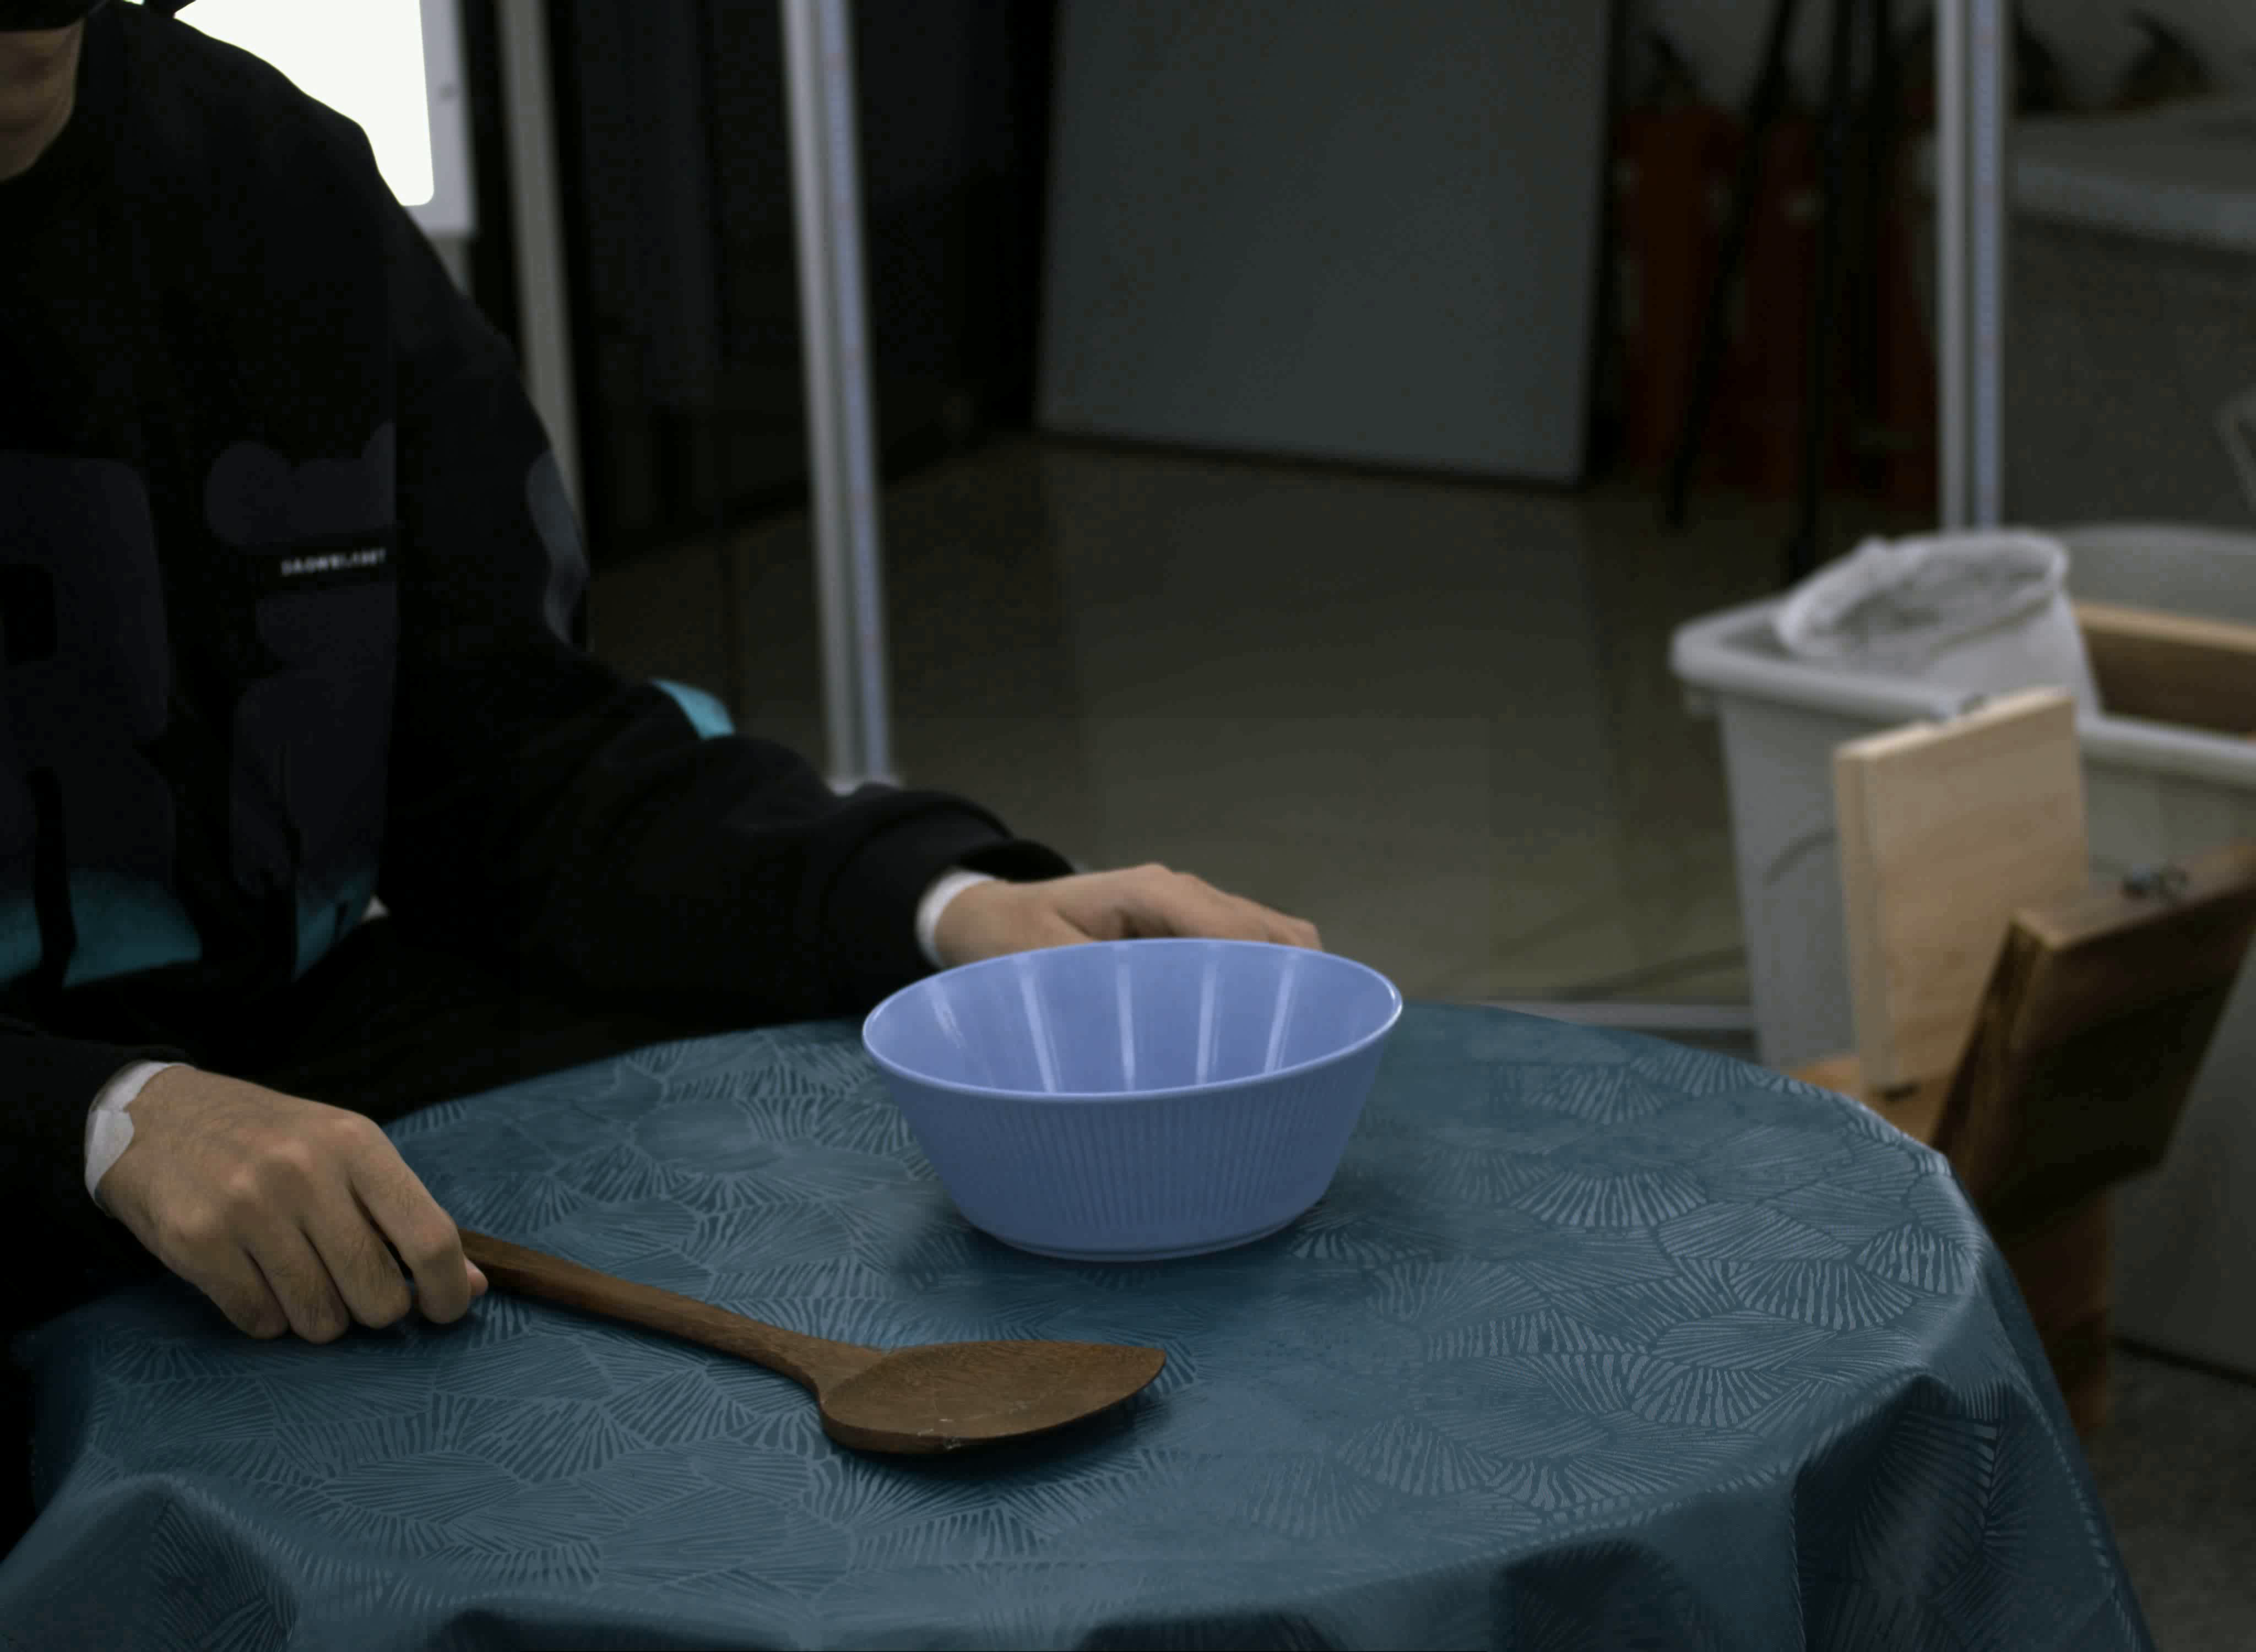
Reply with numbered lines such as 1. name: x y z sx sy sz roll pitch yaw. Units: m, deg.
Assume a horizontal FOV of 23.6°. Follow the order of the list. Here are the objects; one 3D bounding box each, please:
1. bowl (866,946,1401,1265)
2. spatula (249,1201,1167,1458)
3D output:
1. bowl: 0.004 0.092 1.742 0.174 0.071 0.176 -5 12 0
2. spatula: -0.148 0.150 1.670 0.389 0.016 0.094 9 18 43
